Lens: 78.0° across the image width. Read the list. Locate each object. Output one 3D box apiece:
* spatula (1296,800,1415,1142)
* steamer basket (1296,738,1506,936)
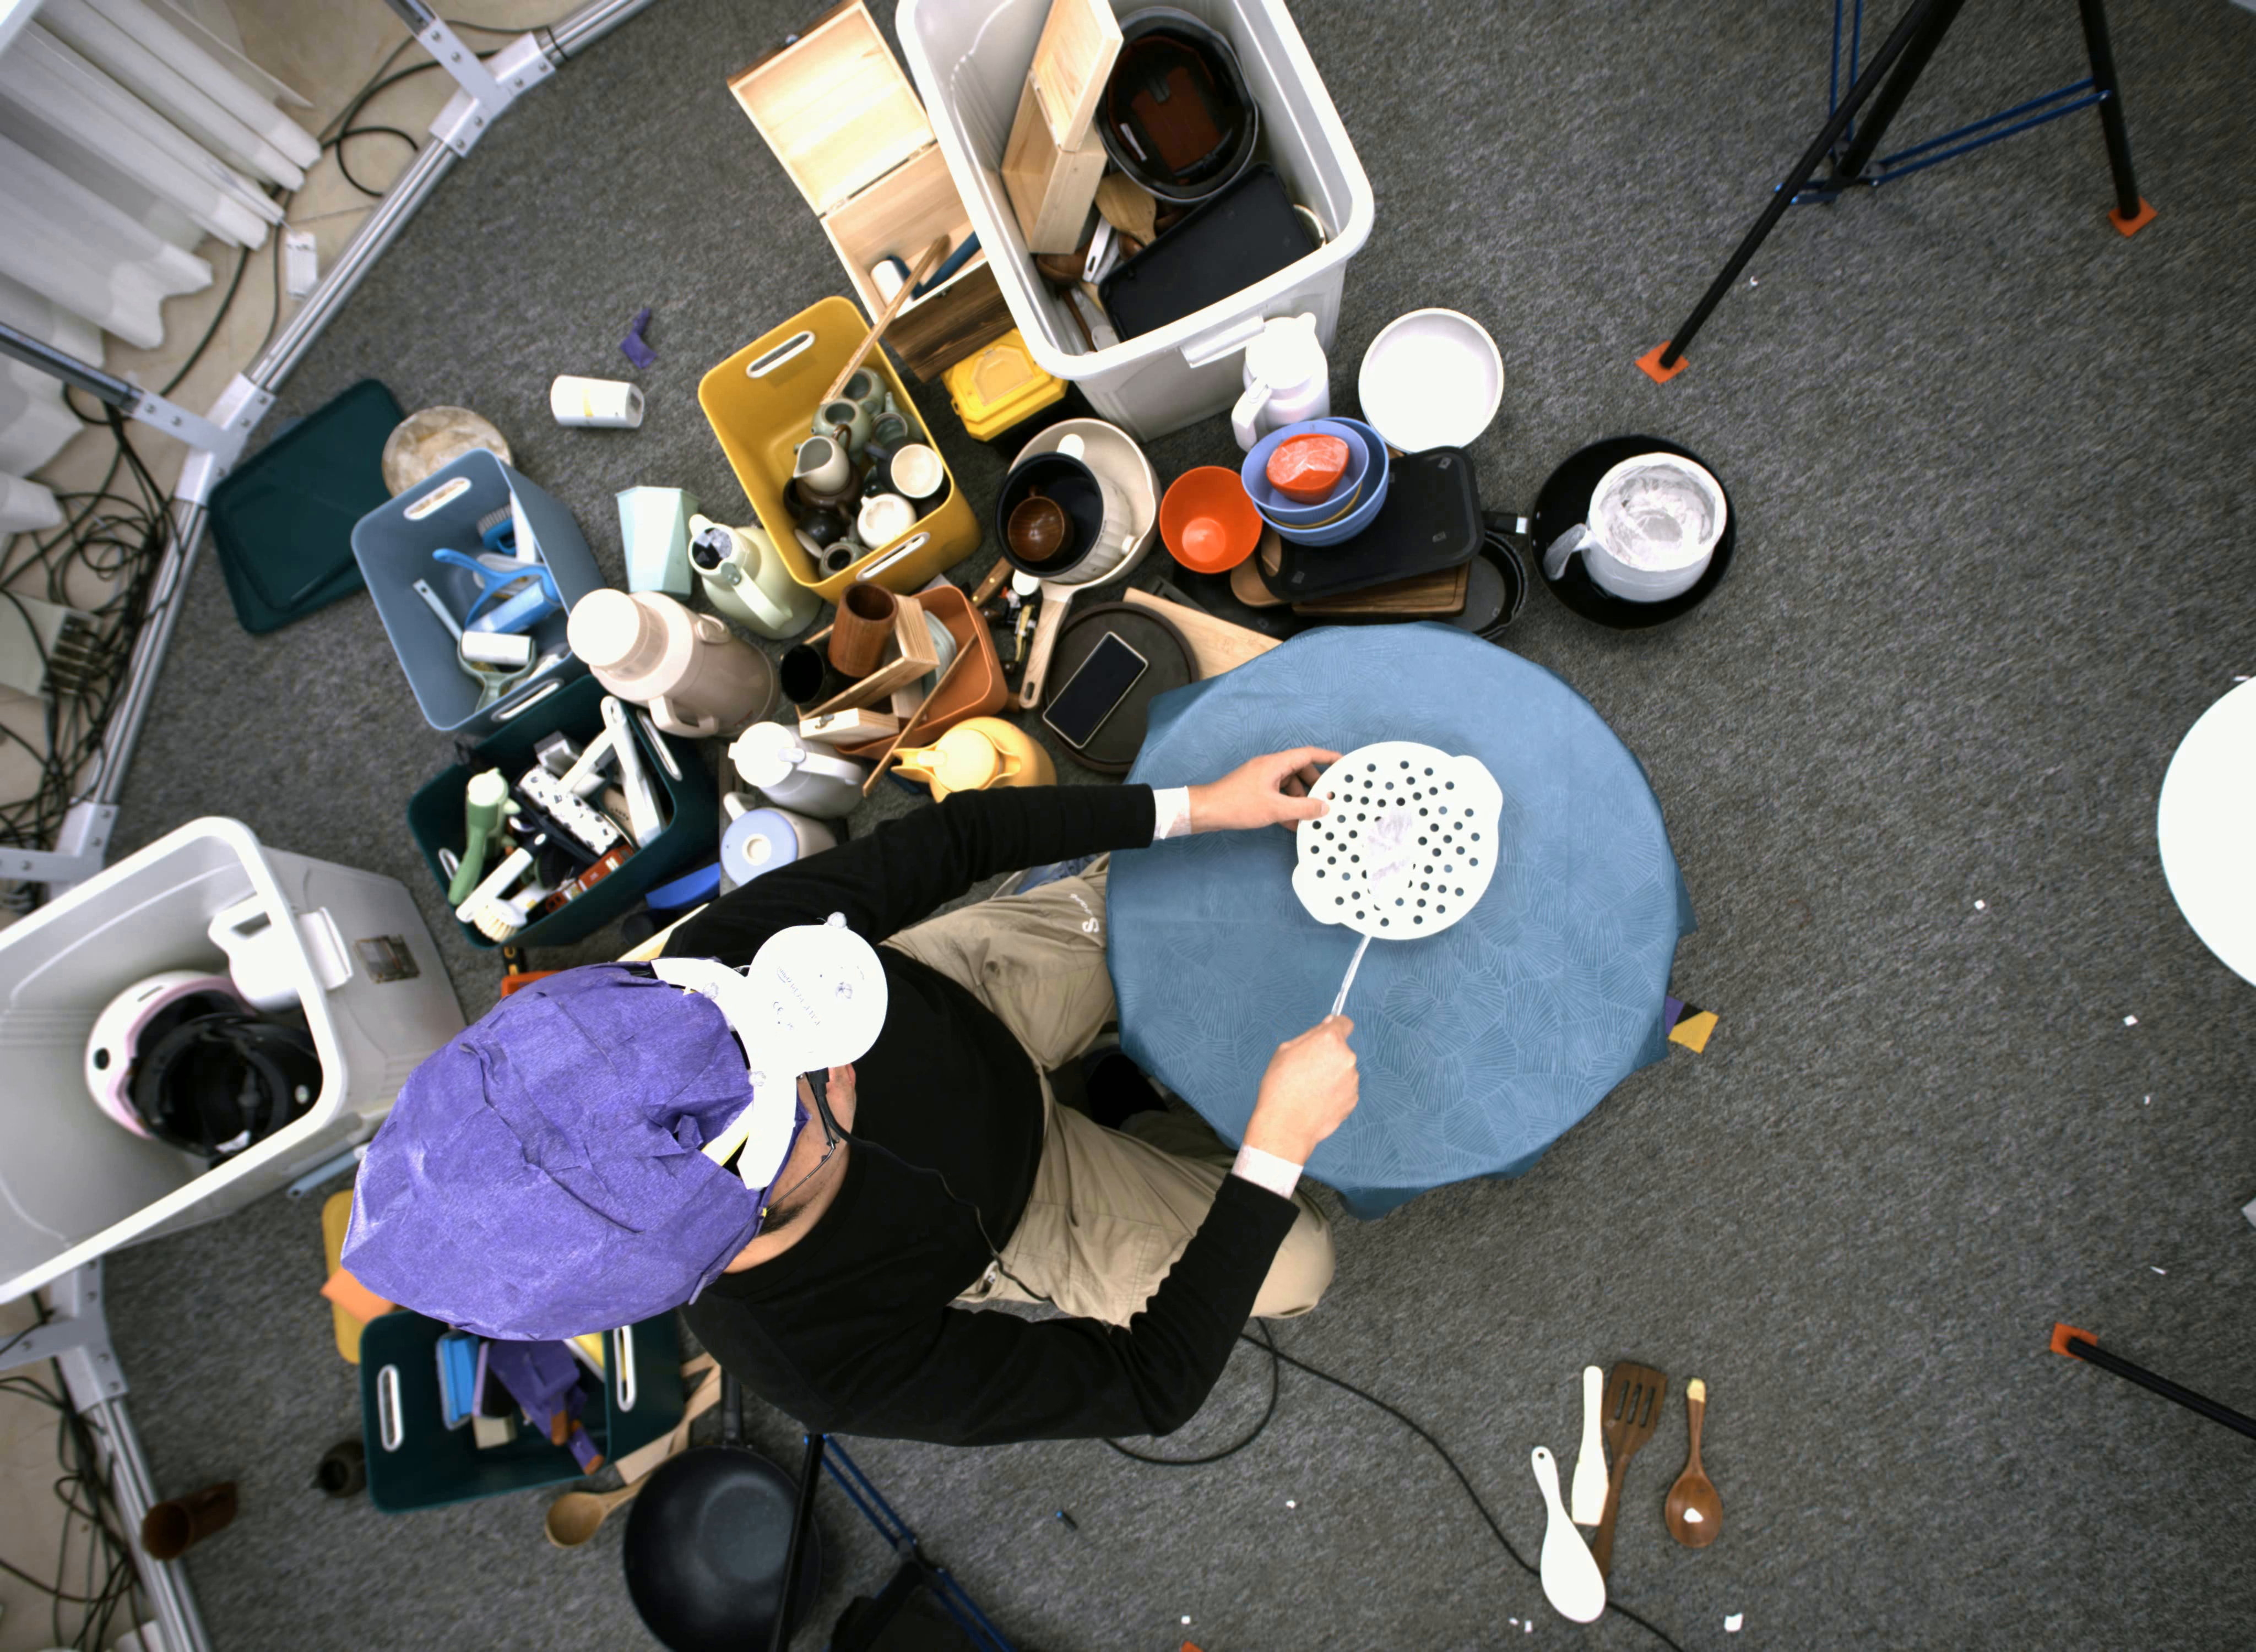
[{"bbox_3d":[0.215,0.133,1.348,0.045,0.100,0.357,31,64,-10],"label":"spatula"},{"bbox_3d":[0.280,0.011,1.424,0.232,0.069,0.201,-34,83,7],"label":"steamer basket"}]
